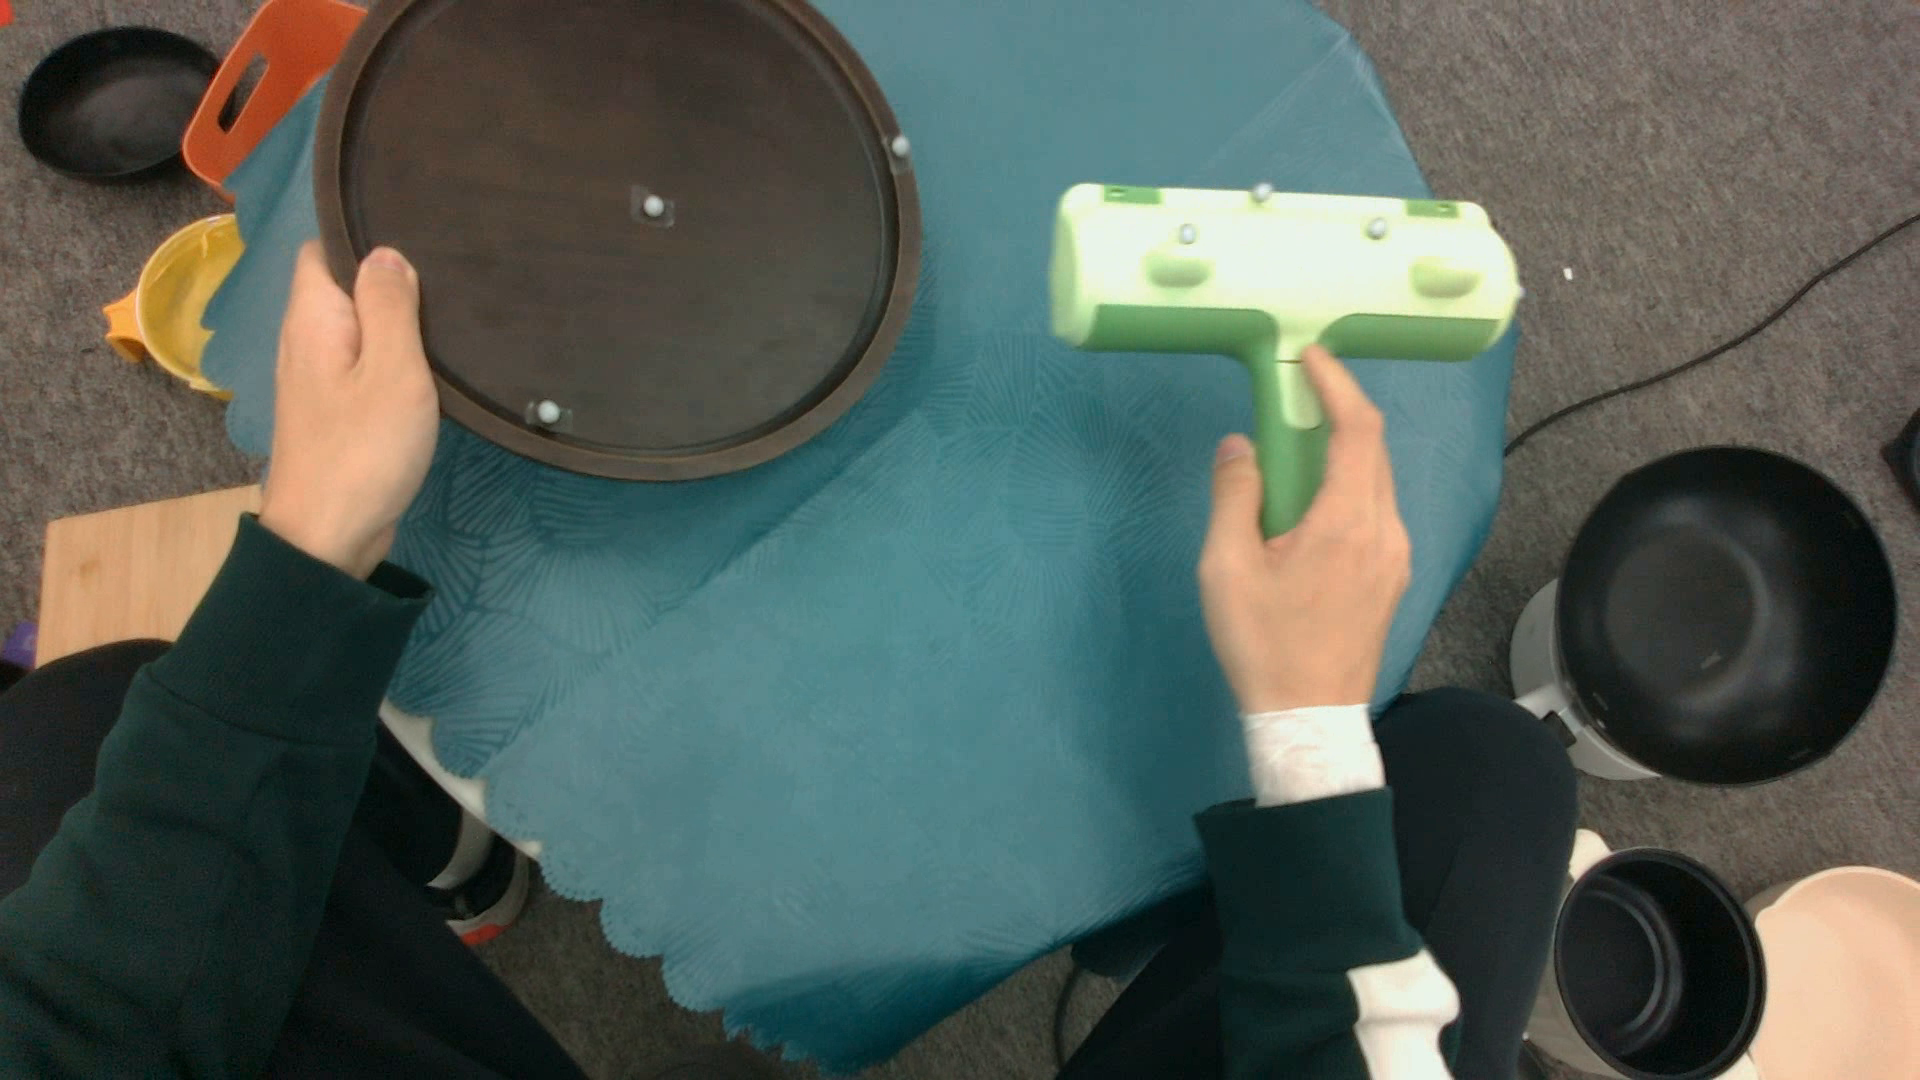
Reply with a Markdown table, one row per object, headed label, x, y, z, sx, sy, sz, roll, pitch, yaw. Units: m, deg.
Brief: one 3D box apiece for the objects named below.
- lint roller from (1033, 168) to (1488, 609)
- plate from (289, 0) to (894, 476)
| label | x | y | z | sx | sy | sz | roll | pitch | yaw |
| --- | --- | --- | --- | --- | --- | --- | --- | --- | --- |
| lint roller | 0.136 | -0.068 | 0.573 | 0.199 | 0.082 | 0.184 | -1 | 74 | -13 |
| plate | -0.152 | -0.149 | 0.598 | 0.255 | 0.029 | 0.255 | 6 | 75 | -21 |
